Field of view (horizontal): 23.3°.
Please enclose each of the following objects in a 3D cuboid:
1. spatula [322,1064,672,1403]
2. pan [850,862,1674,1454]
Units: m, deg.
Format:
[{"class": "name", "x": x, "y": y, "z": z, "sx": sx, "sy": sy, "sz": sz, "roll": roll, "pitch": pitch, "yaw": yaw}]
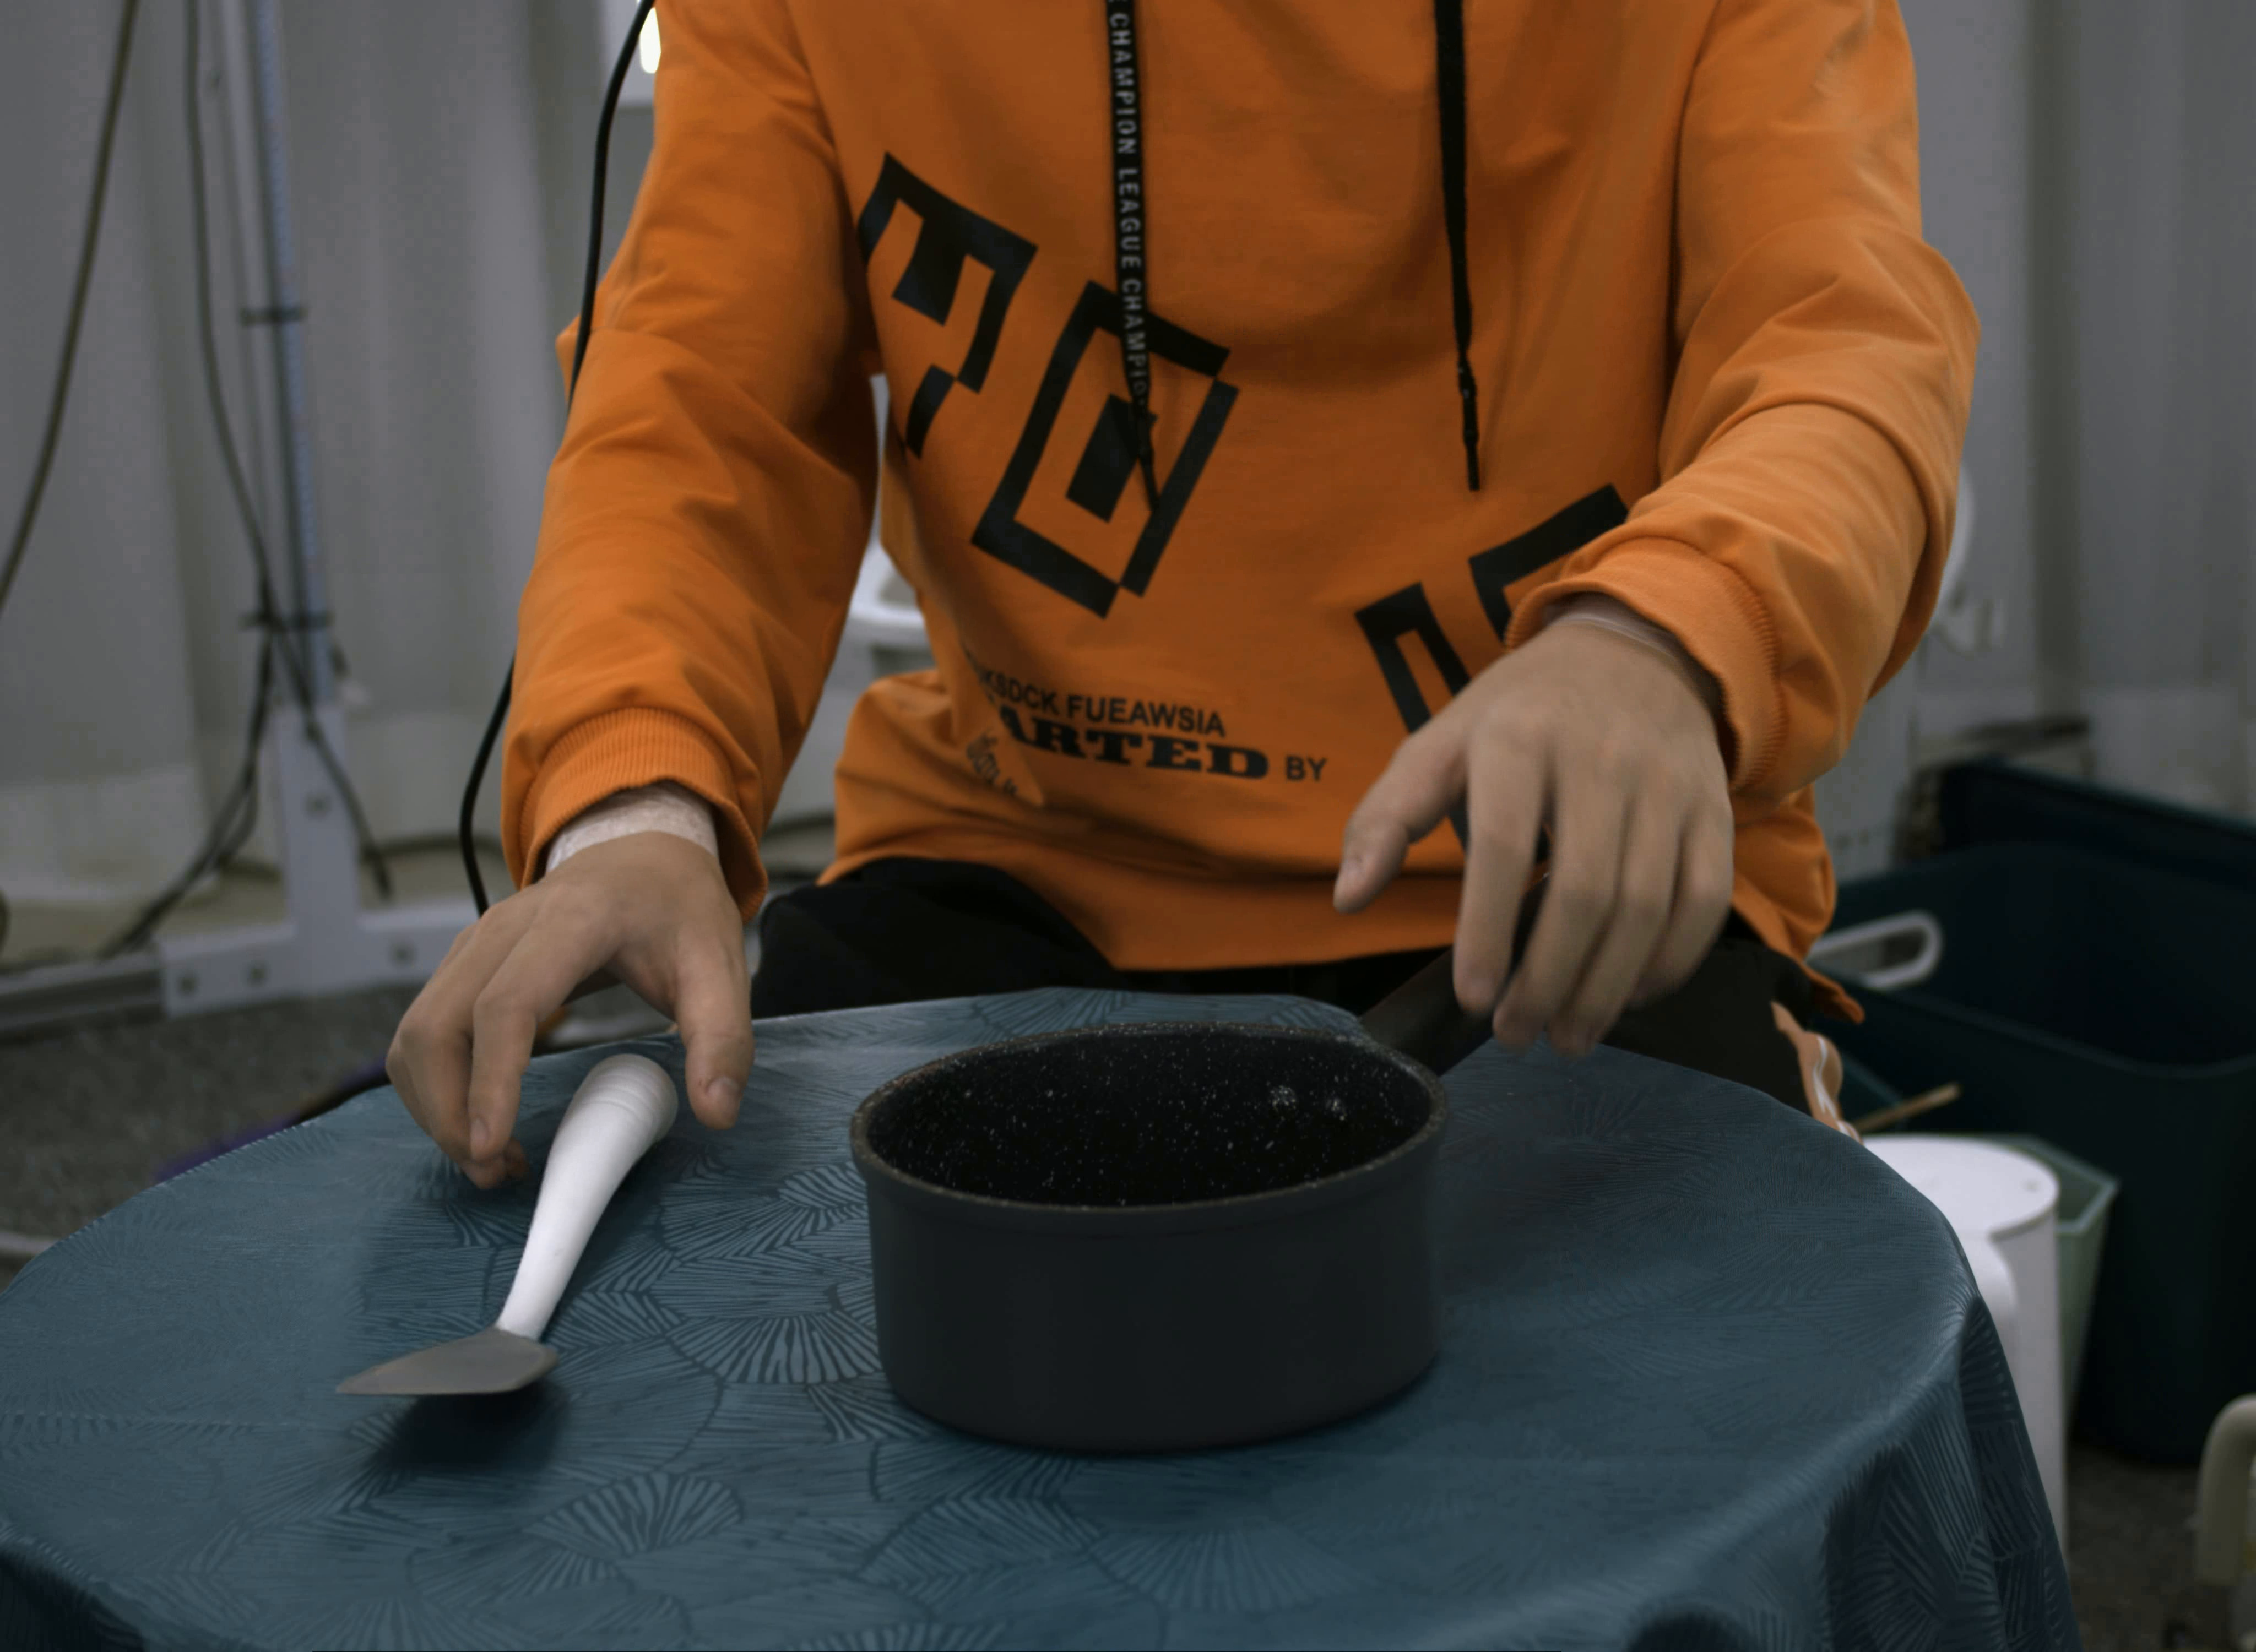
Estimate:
[{"class": "spatula", "x": -0.179, "y": 0.129, "z": 1.638, "sx": 0.058, "sy": 0.032, "sz": 0.289, "roll": 3, "pitch": 15, "yaw": 6}, {"class": "pan", "x": 0.058, "y": 0.094, "z": 1.618, "sx": 0.173, "sy": 0.086, "sz": 0.328, "roll": 10, "pitch": 21, "yaw": 38}]
